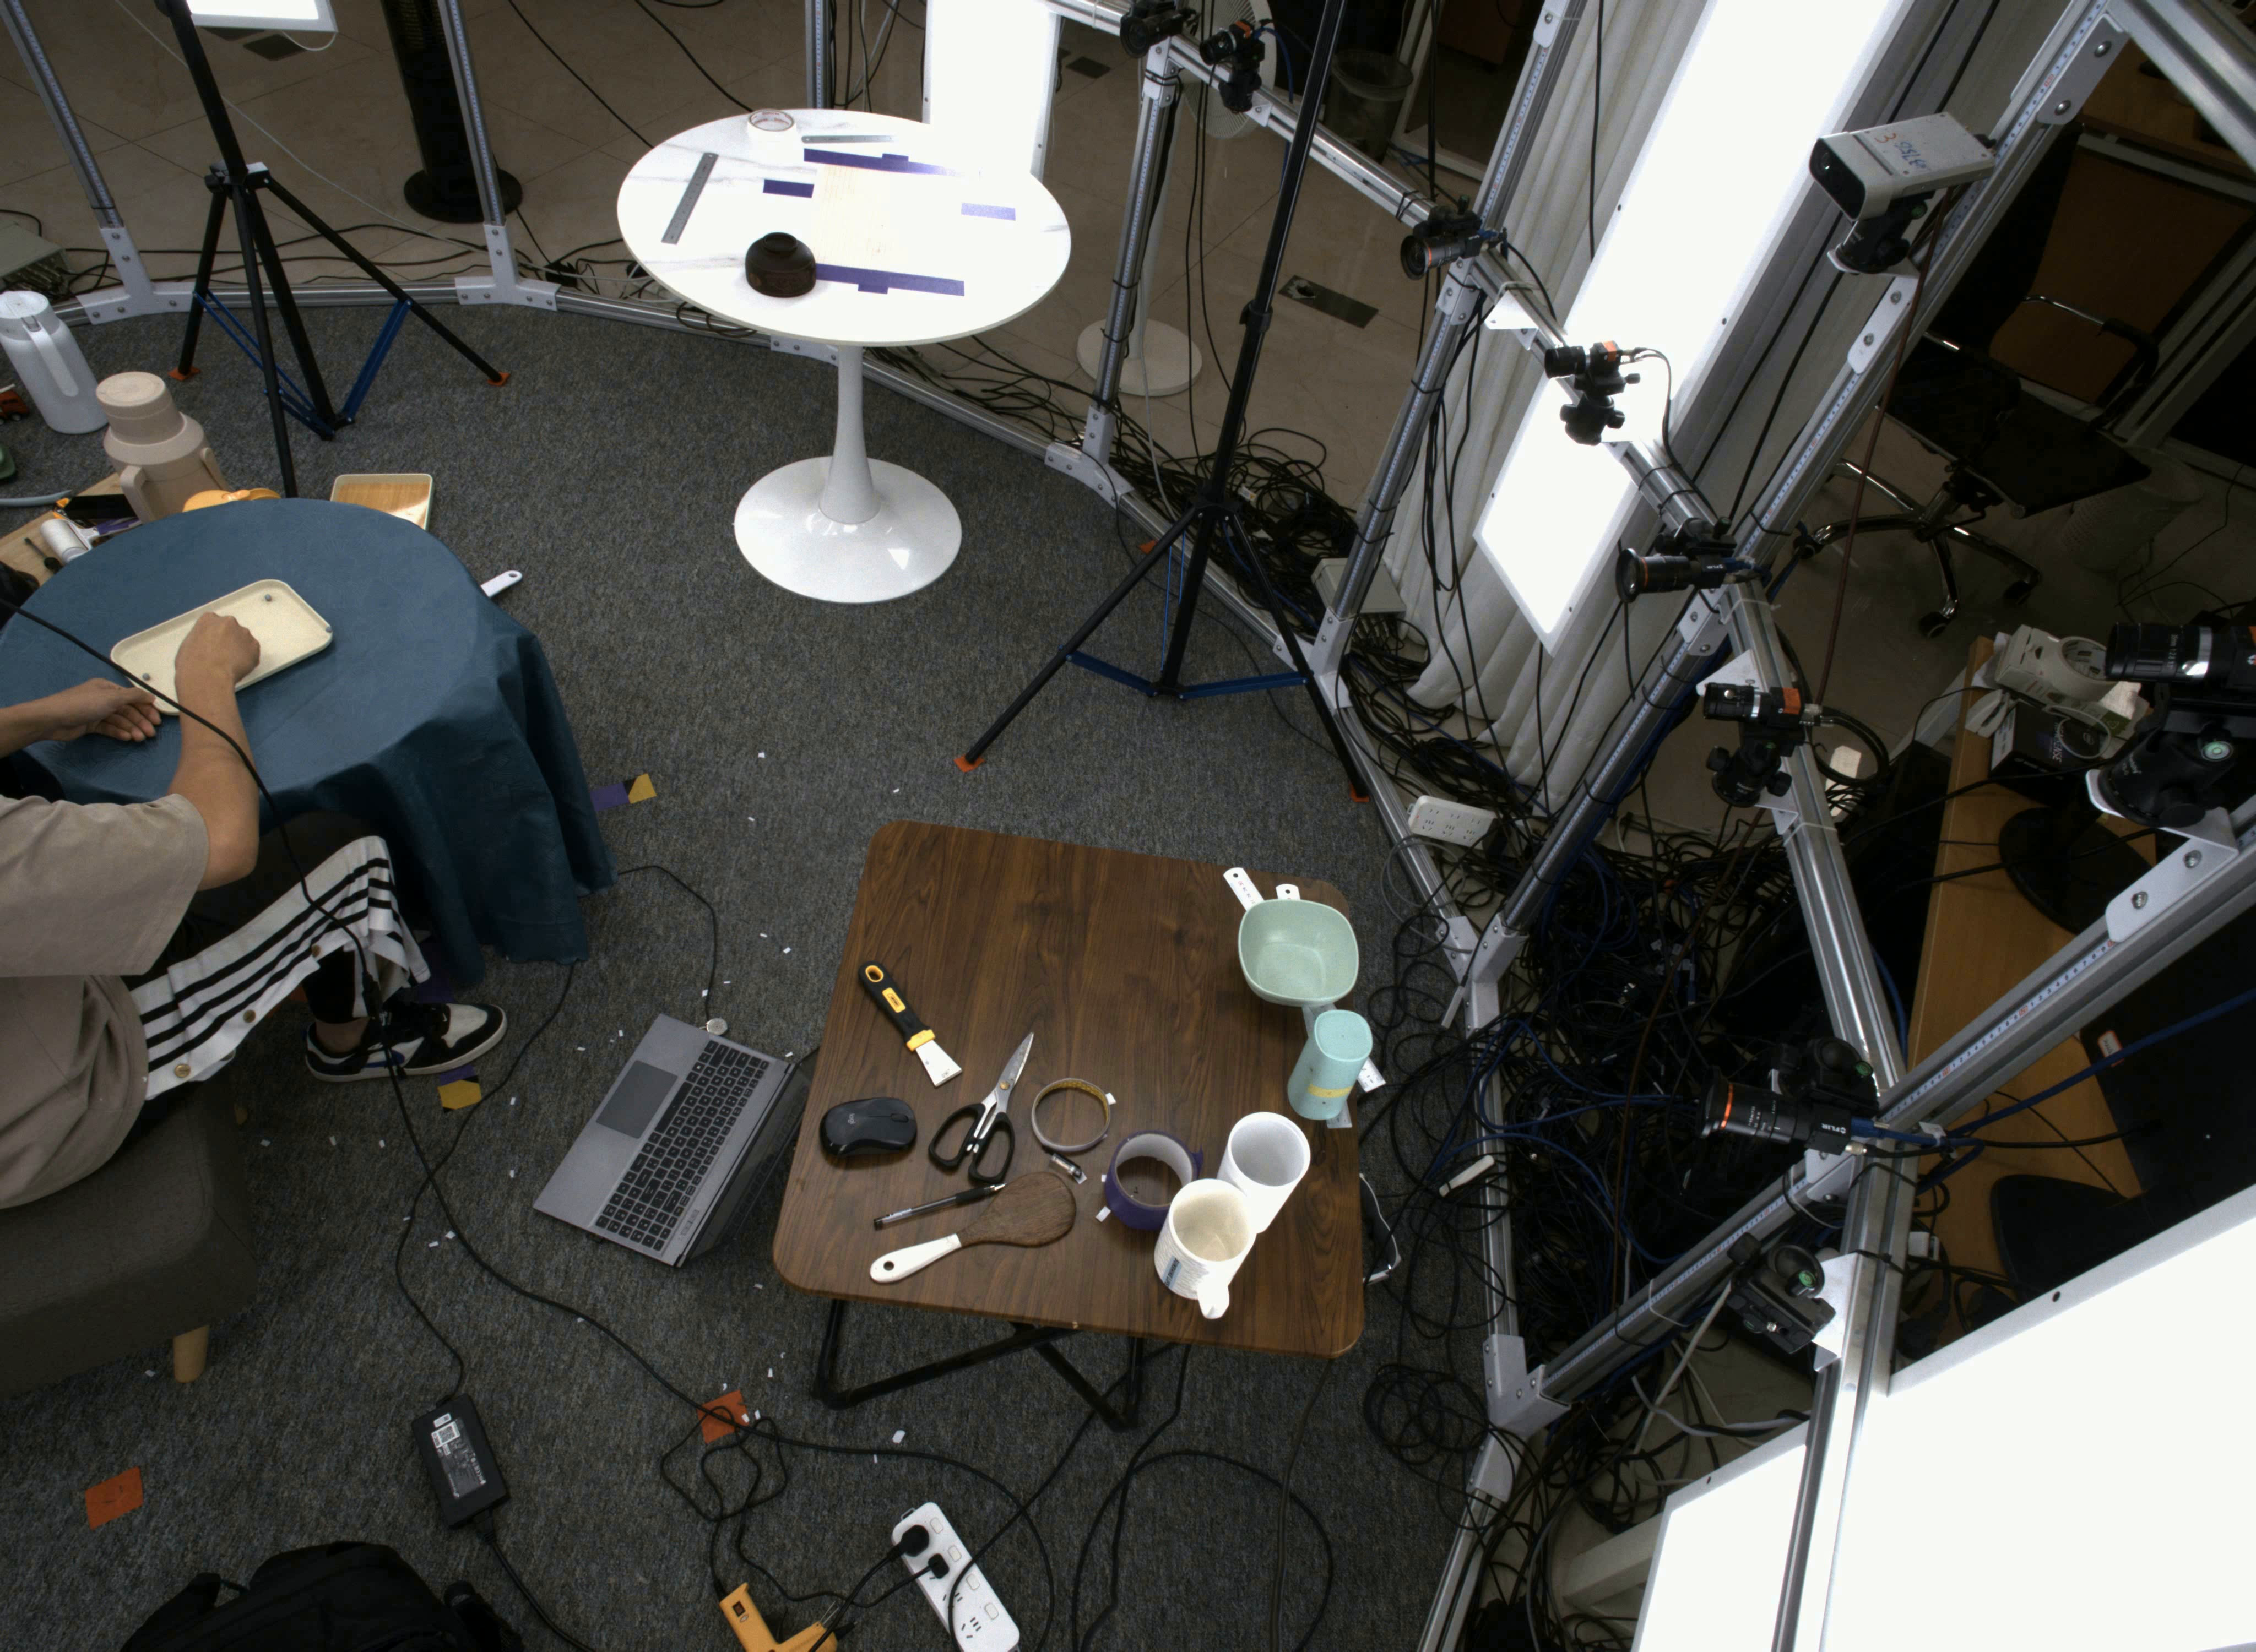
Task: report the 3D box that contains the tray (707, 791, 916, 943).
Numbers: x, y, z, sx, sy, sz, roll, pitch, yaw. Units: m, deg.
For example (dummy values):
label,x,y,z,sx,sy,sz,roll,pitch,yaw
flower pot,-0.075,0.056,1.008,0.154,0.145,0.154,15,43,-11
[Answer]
label,x,y,z,sx,sy,sz,roll,pitch,yaw
tray,-0.411,0.050,1.689,0.240,0.018,0.167,-25,62,-28

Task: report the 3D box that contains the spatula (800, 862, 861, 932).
label,x,y,z,sx,sy,sz,roll,pitch,yaw
spatula,-0.349,0.077,1.533,0.059,0.280,0.033,-10,102,-17
